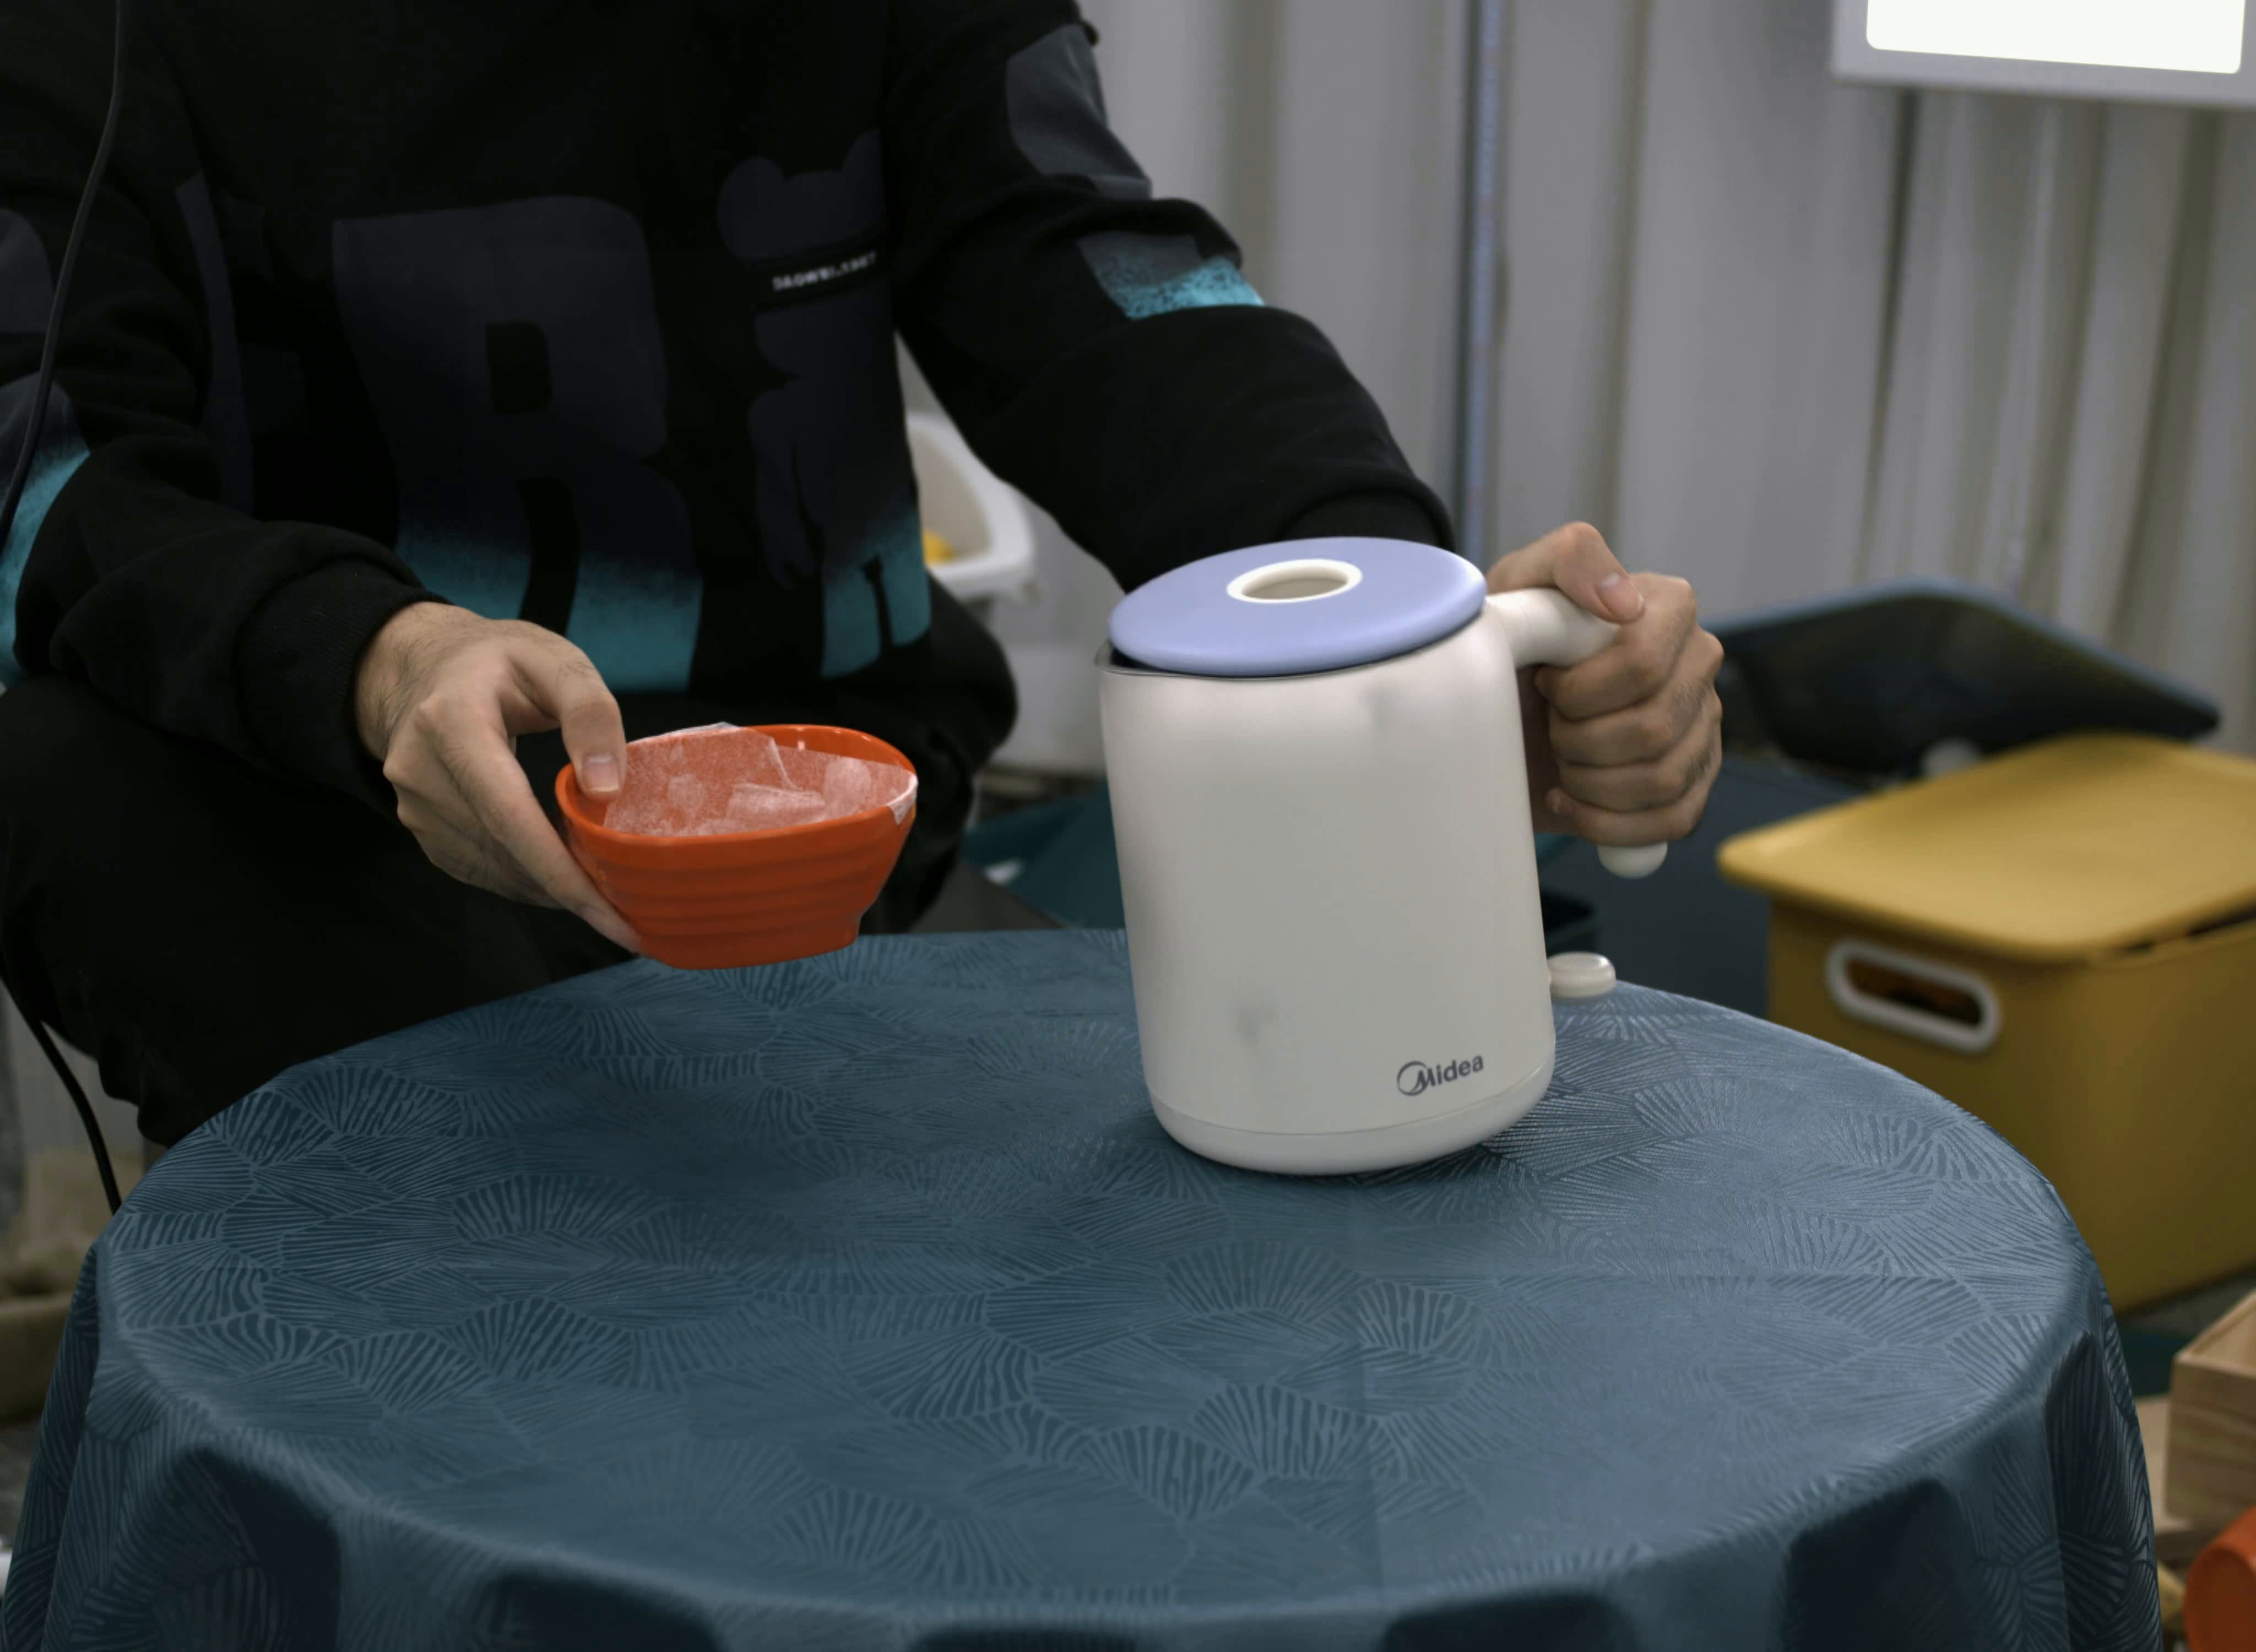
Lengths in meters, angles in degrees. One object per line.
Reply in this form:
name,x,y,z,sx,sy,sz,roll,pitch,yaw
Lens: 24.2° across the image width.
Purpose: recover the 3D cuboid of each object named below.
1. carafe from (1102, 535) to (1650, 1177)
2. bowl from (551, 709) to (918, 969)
carafe,0.083,0.004,1.661,0.191,0.184,0.130,-13,22,-25
bowl,-0.119,0.006,1.619,0.118,0.052,0.118,-3,21,2
